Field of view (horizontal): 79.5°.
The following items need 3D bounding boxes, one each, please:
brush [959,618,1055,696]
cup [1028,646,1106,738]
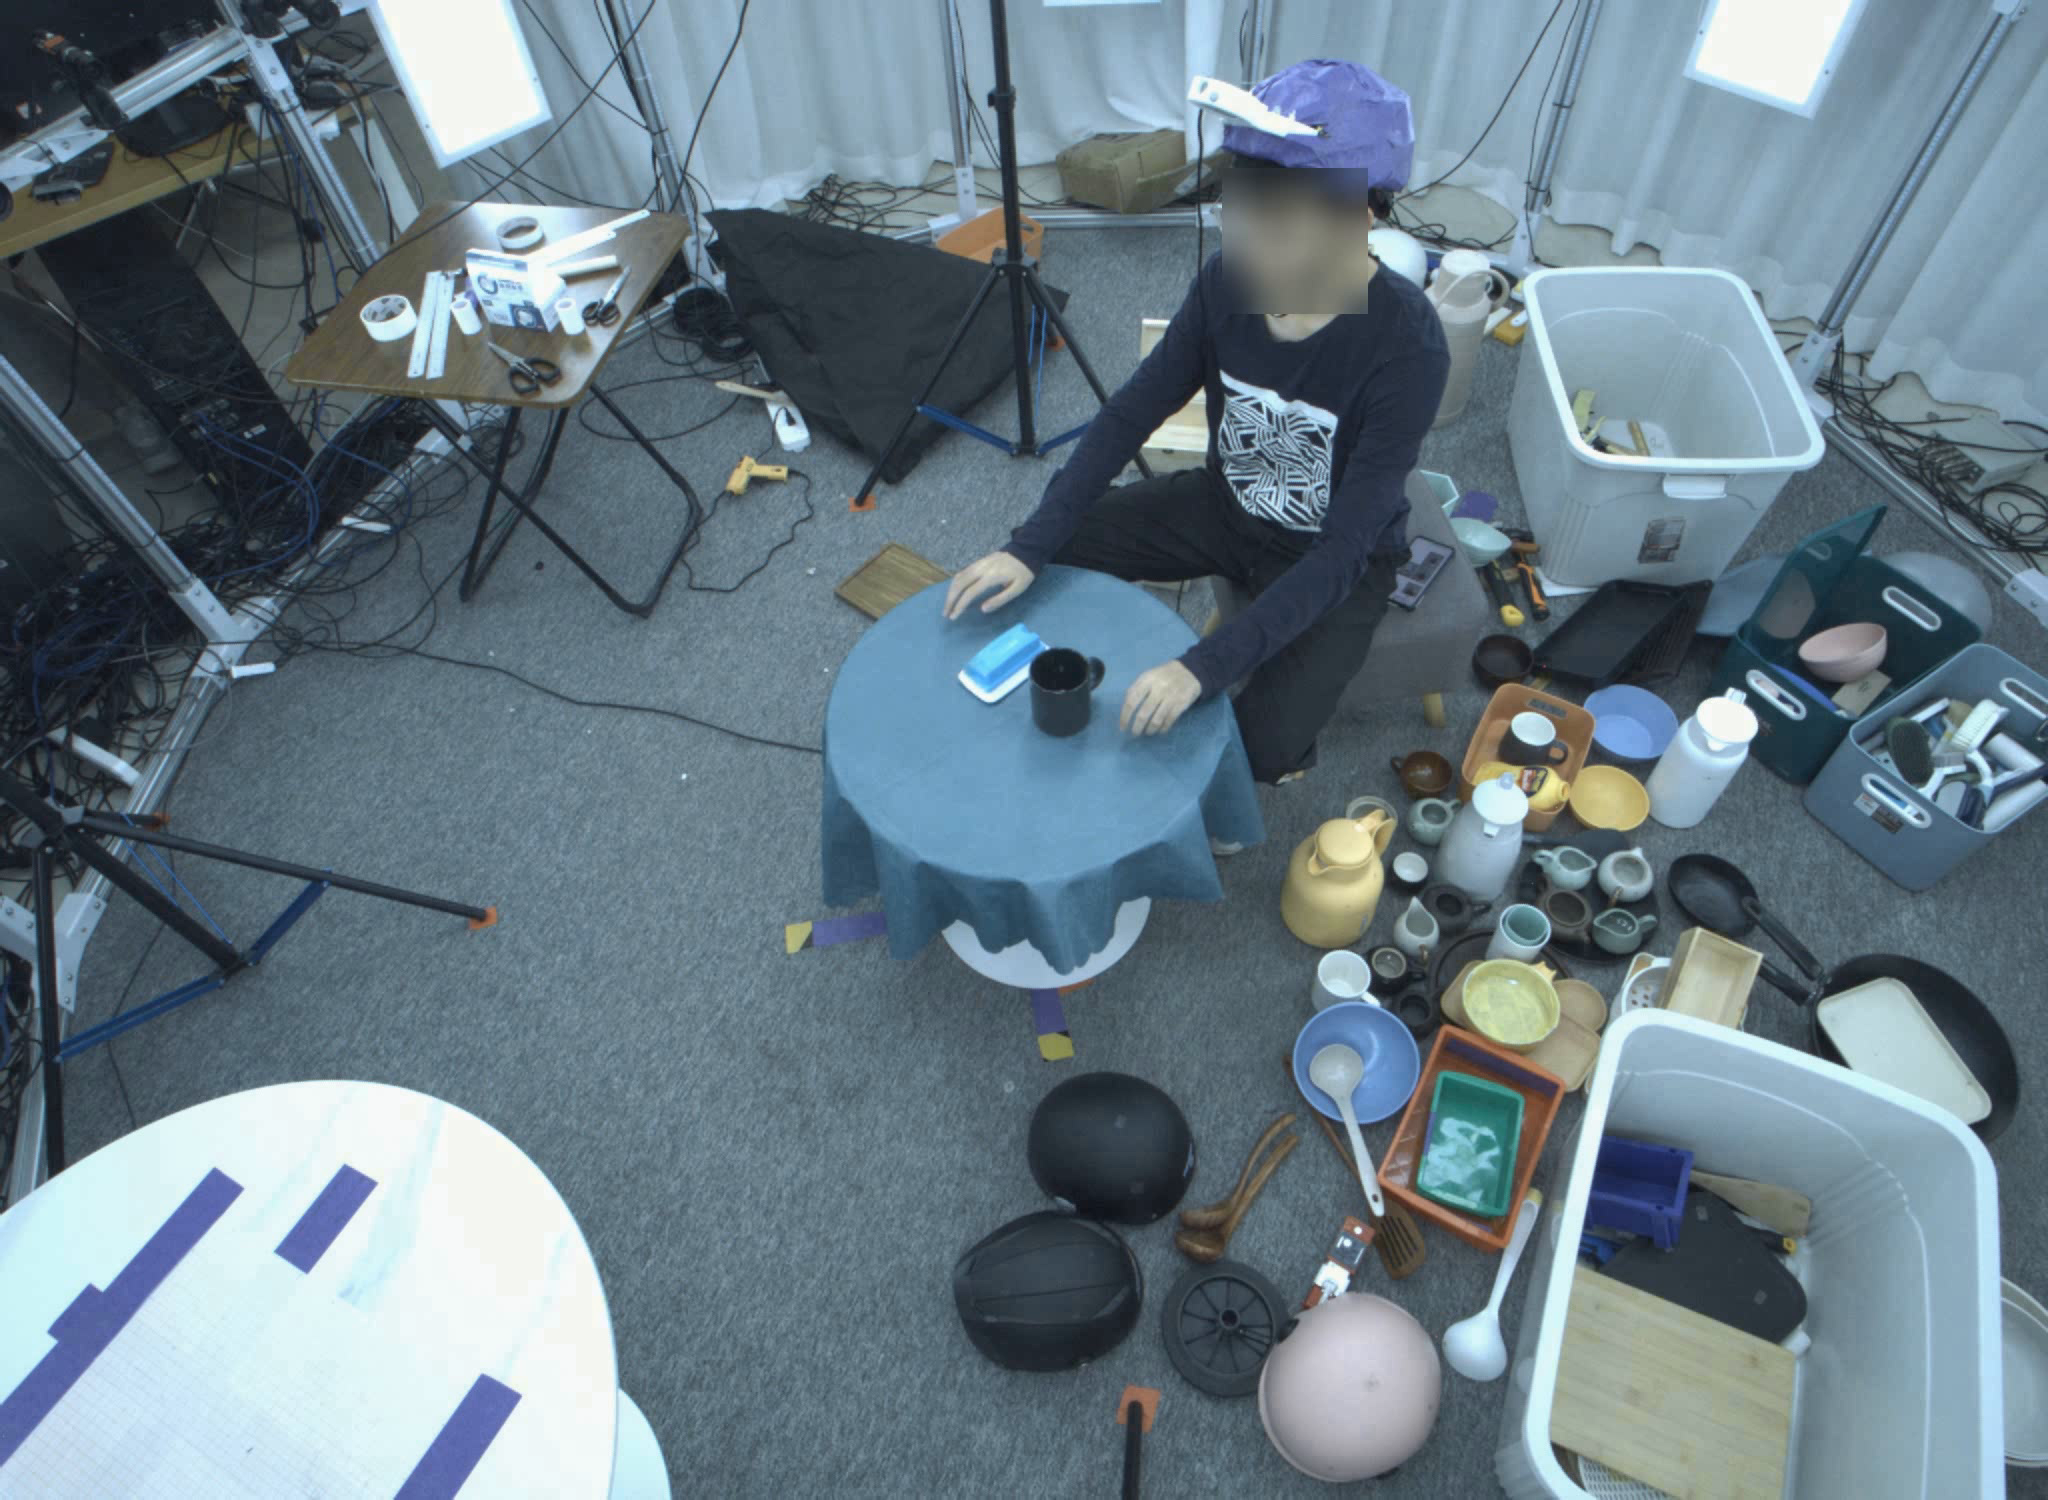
[{"bbox_3d":[-0.026,-0.148,1.849,0.145,0.056,0.082,-38,64,-19],"label":"brush"},{"bbox_3d":[0.066,-0.091,1.780,0.125,0.106,0.087,-30,56,-20],"label":"cup"}]
